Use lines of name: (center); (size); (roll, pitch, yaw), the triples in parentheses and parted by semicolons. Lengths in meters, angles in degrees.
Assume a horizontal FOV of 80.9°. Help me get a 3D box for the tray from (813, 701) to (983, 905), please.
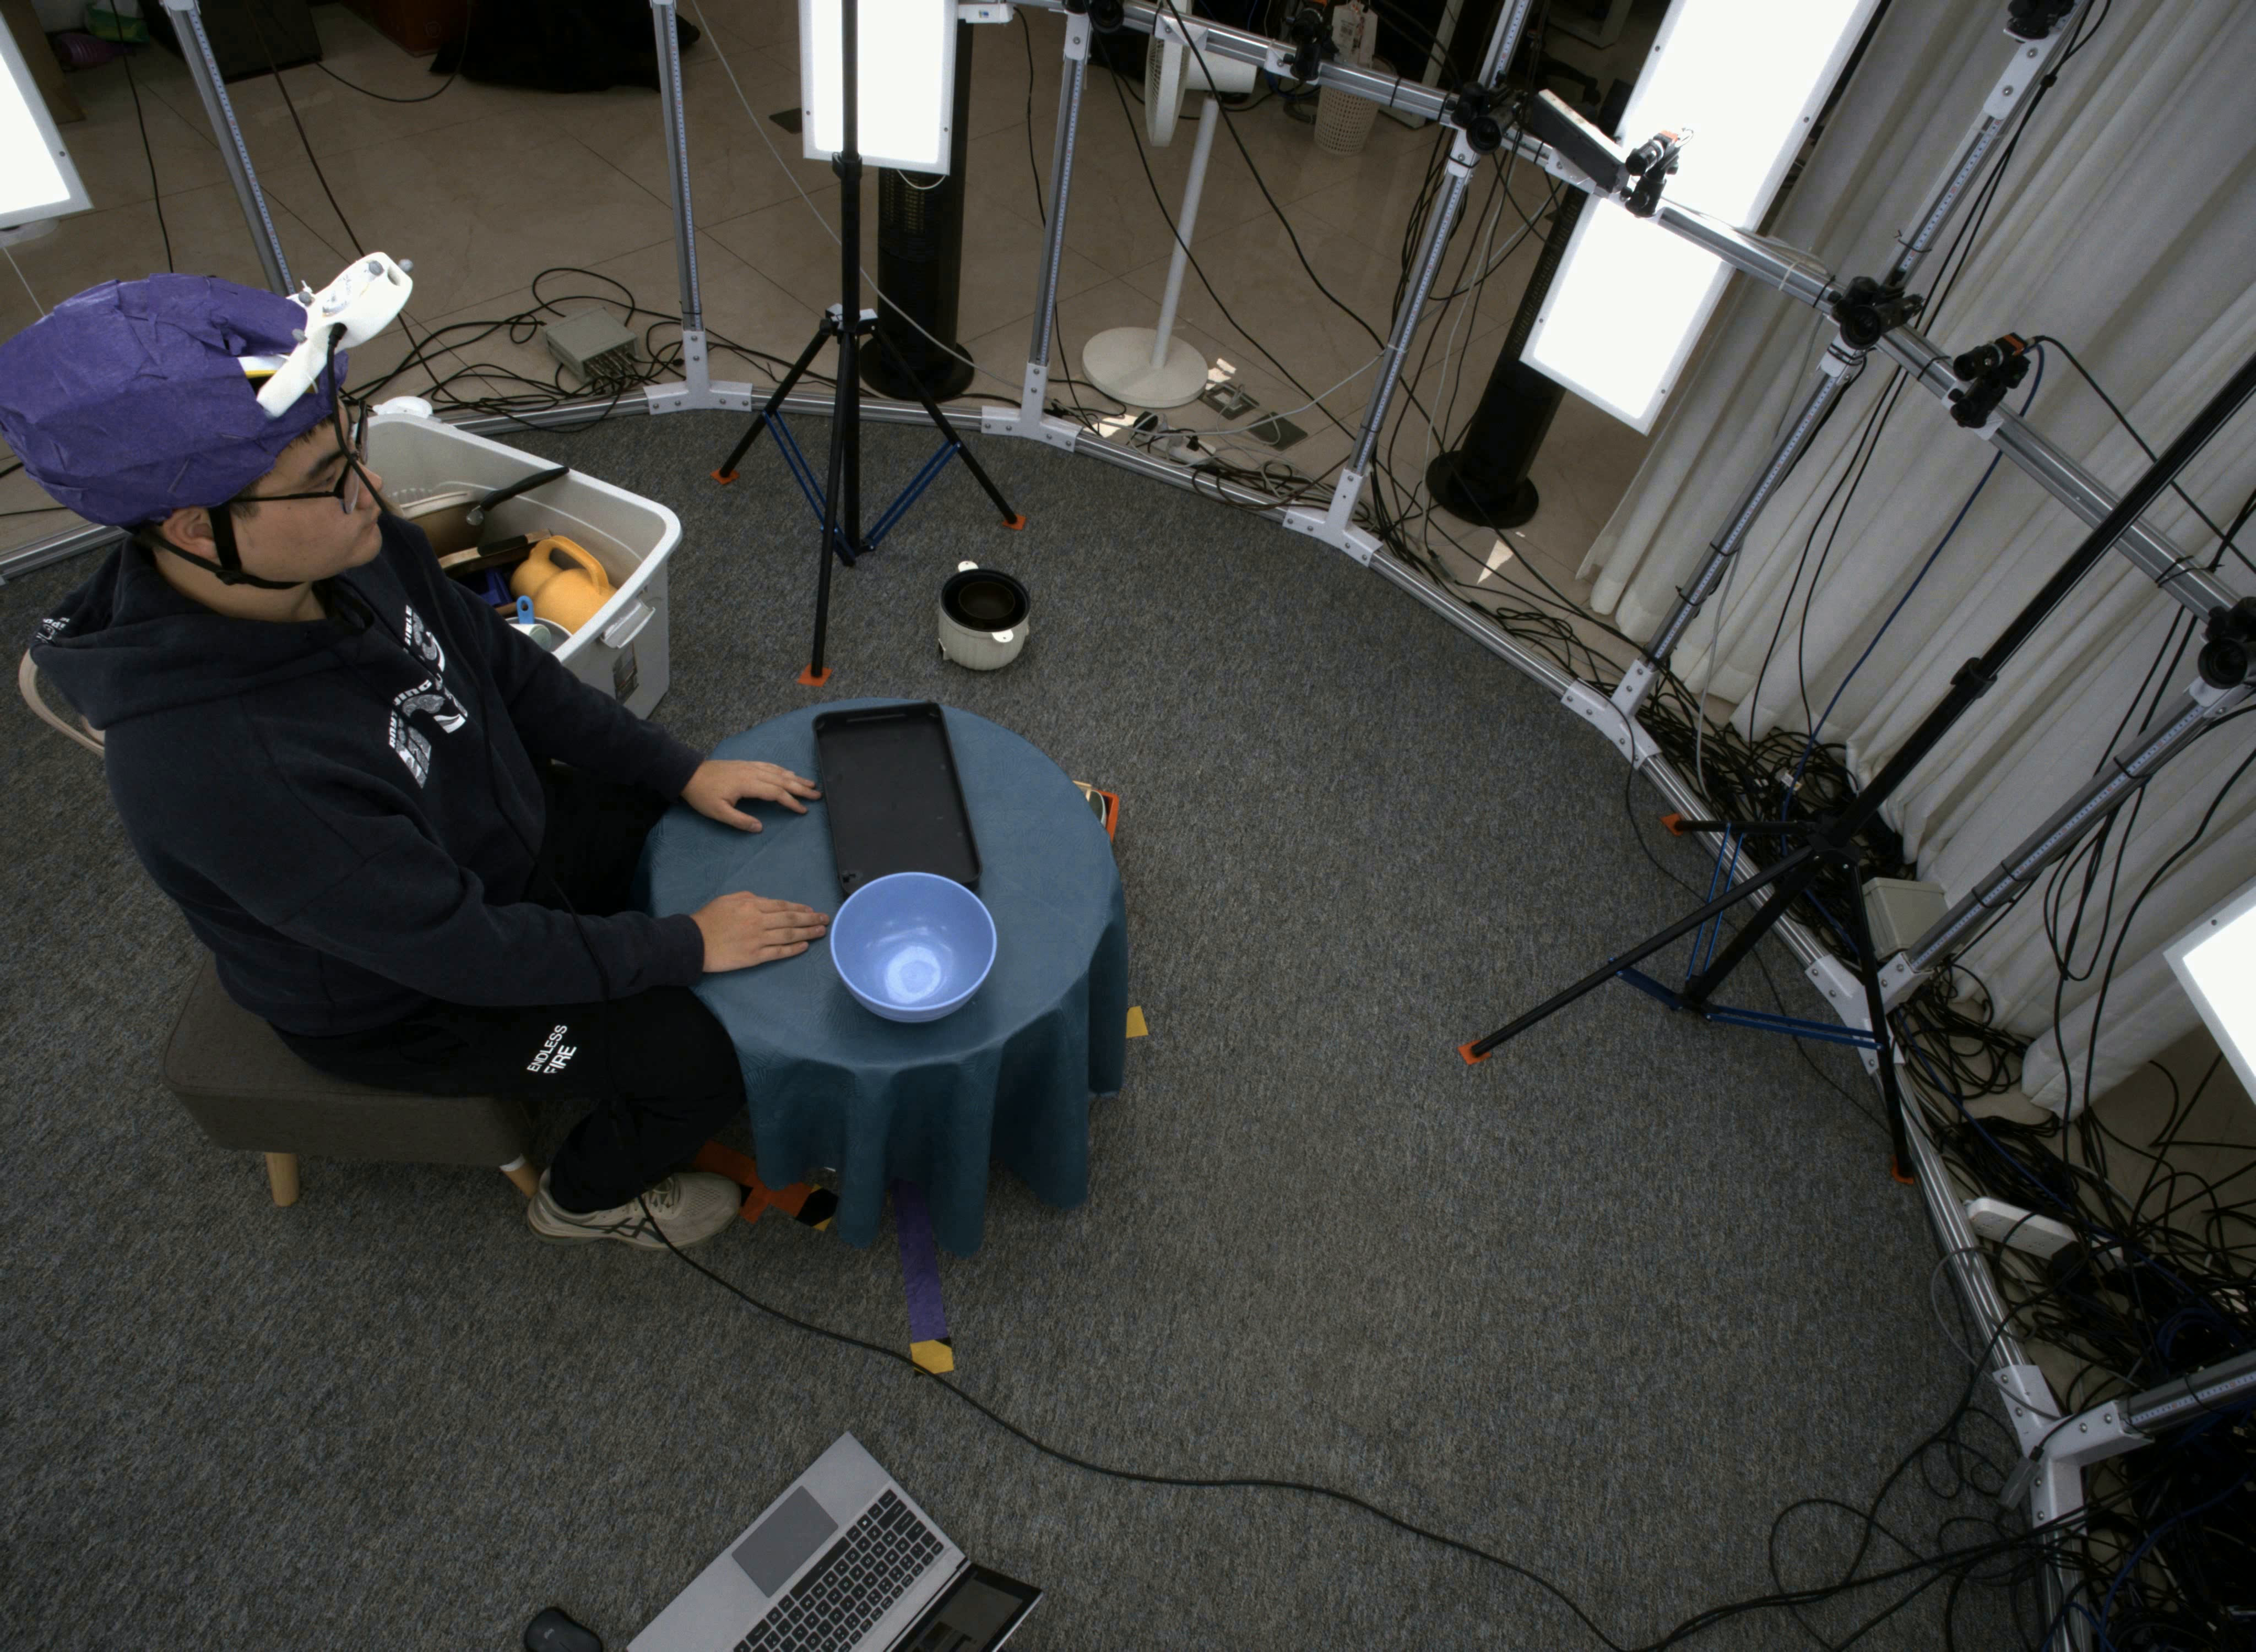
tray: (-0.313, -0.034, 1.749); (0.185, 0.038, 0.310); (-7, 56, -18)

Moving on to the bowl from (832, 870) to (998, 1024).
bowl: (-0.259, 0.159, 1.578); (0.196, 0.097, 0.193); (8, 54, -9)
